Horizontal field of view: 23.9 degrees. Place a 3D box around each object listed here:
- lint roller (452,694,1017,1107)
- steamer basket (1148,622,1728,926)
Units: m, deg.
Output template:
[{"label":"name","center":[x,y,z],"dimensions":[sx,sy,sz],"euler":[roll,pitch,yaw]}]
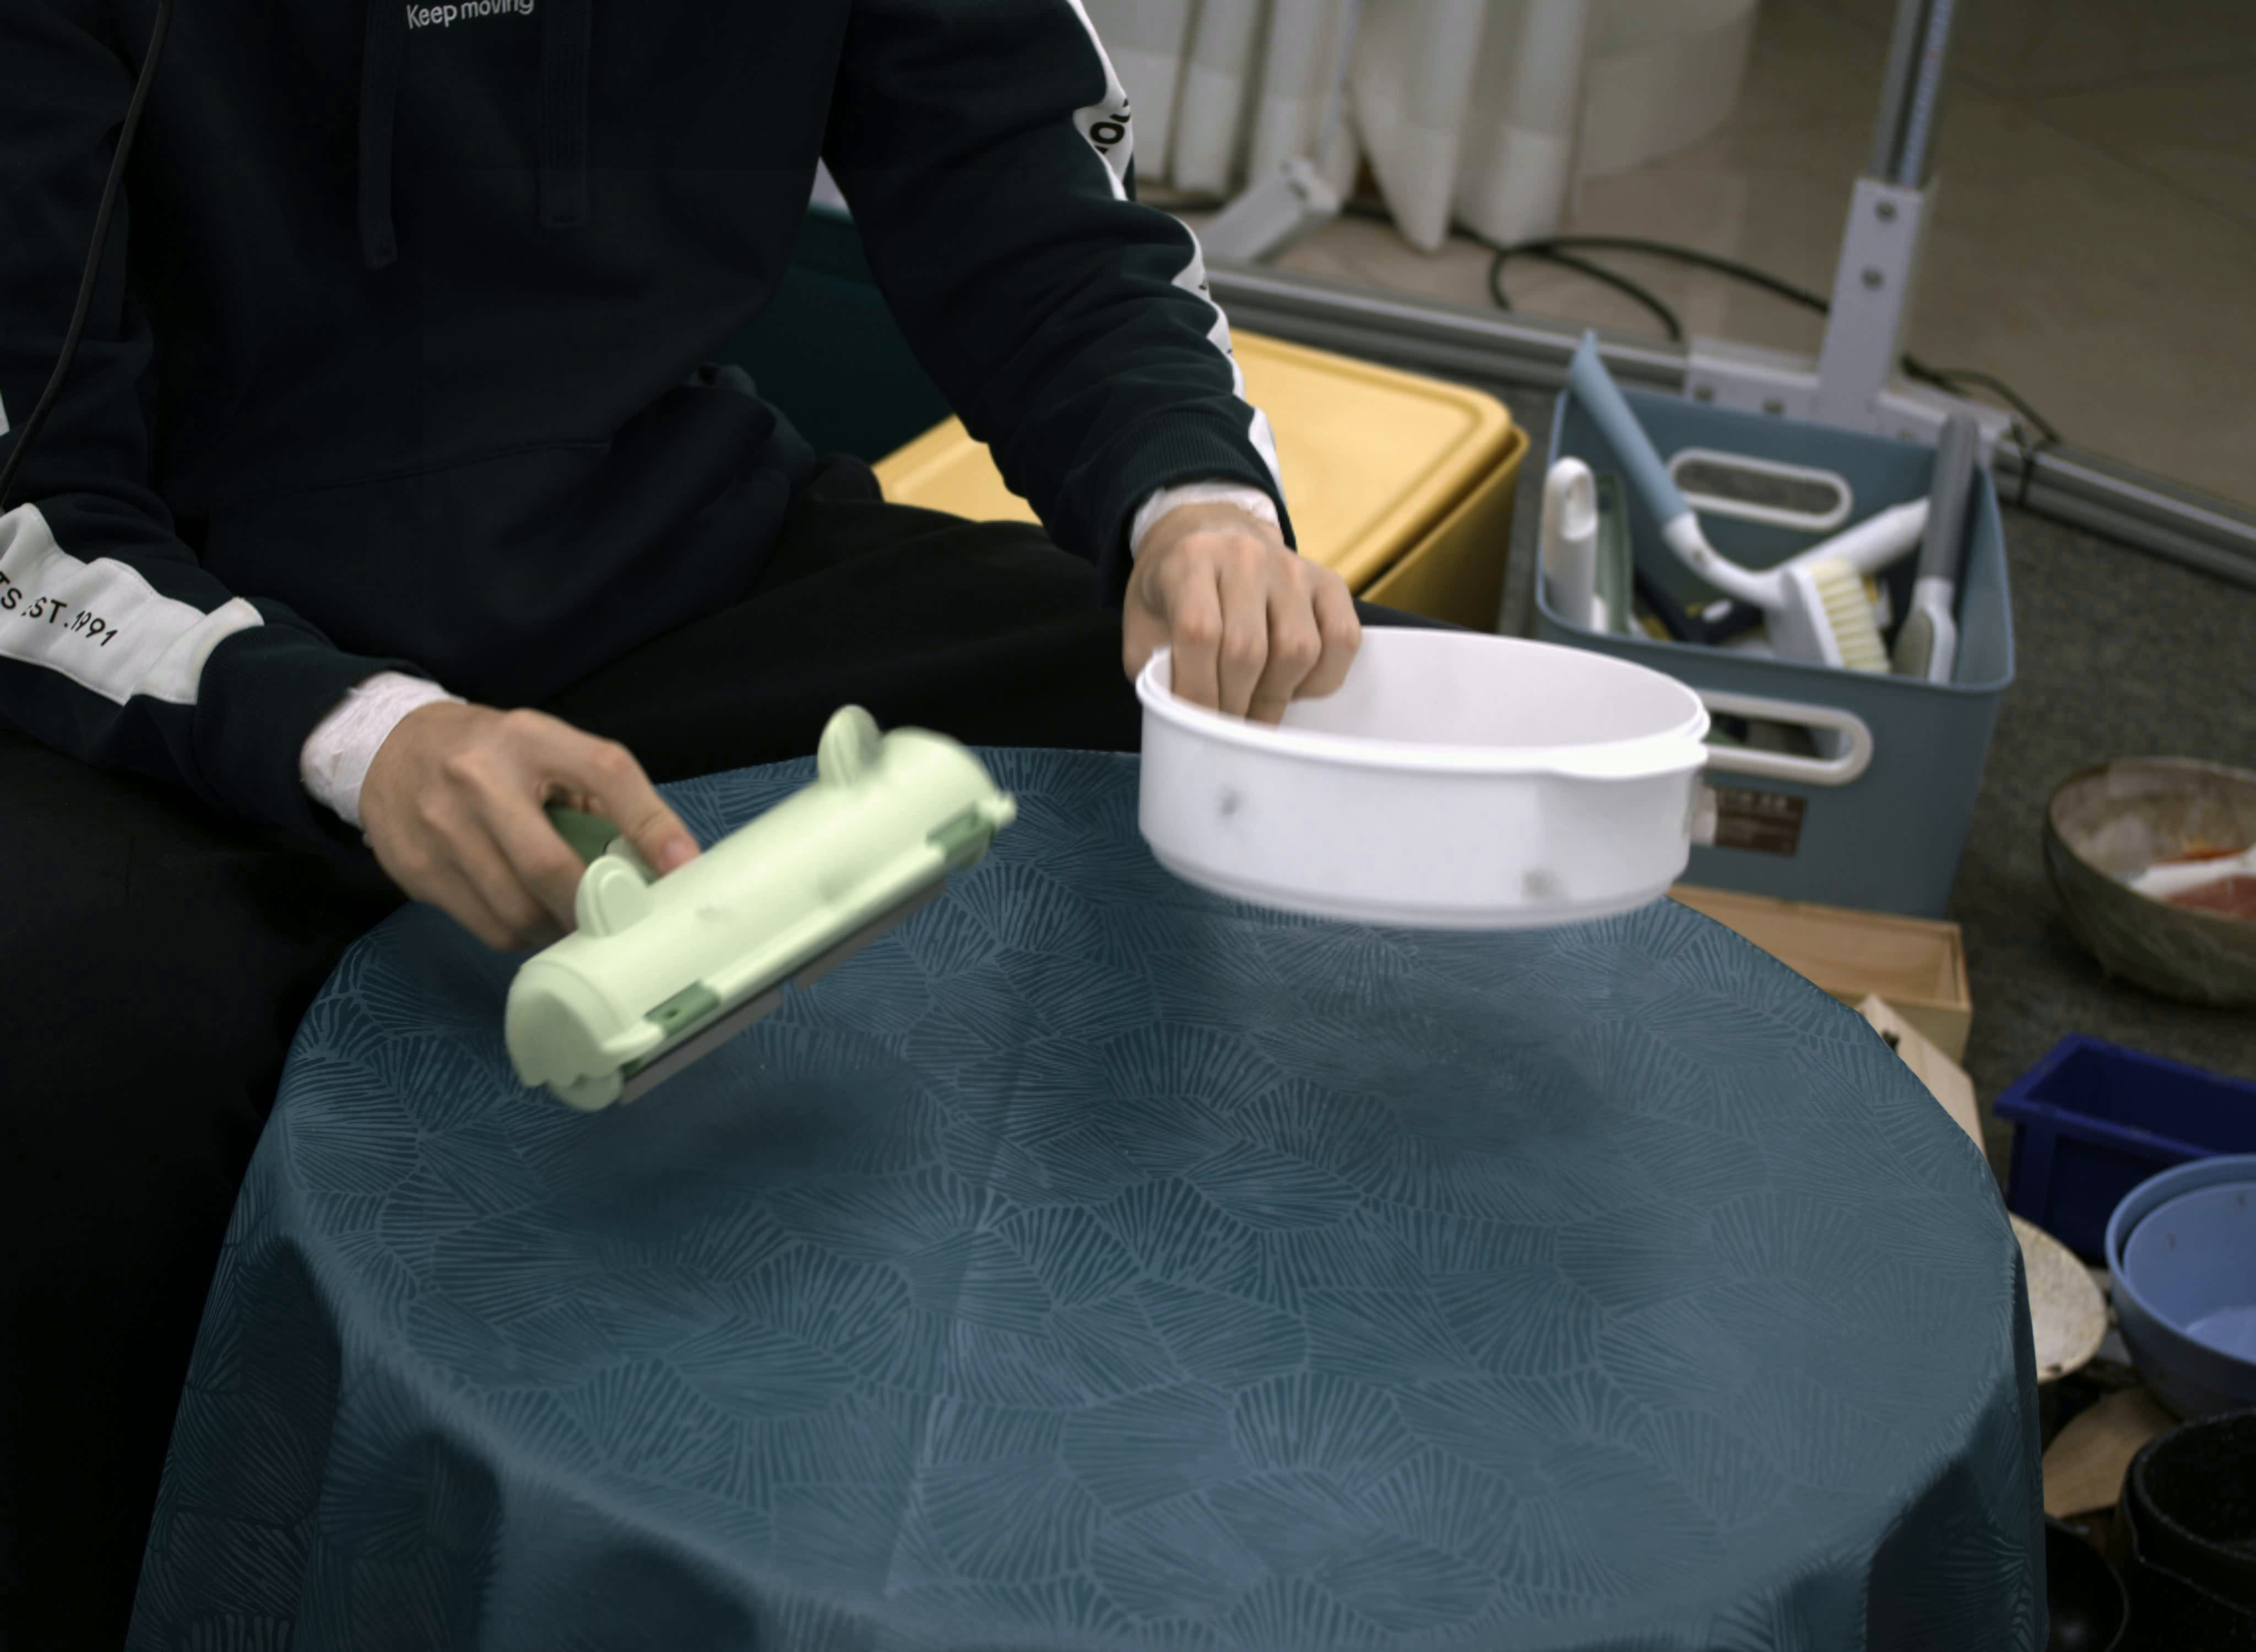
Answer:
[{"label":"lint roller","center":[-0.165,0.003,1.797],"dimensions":[0.184,0.082,0.198],"euler":[23,41,34]},{"label":"steamer basket","center":[0.105,-0.018,1.855],"dimensions":[0.200,0.069,0.232],"euler":[-10,19,-42]}]
